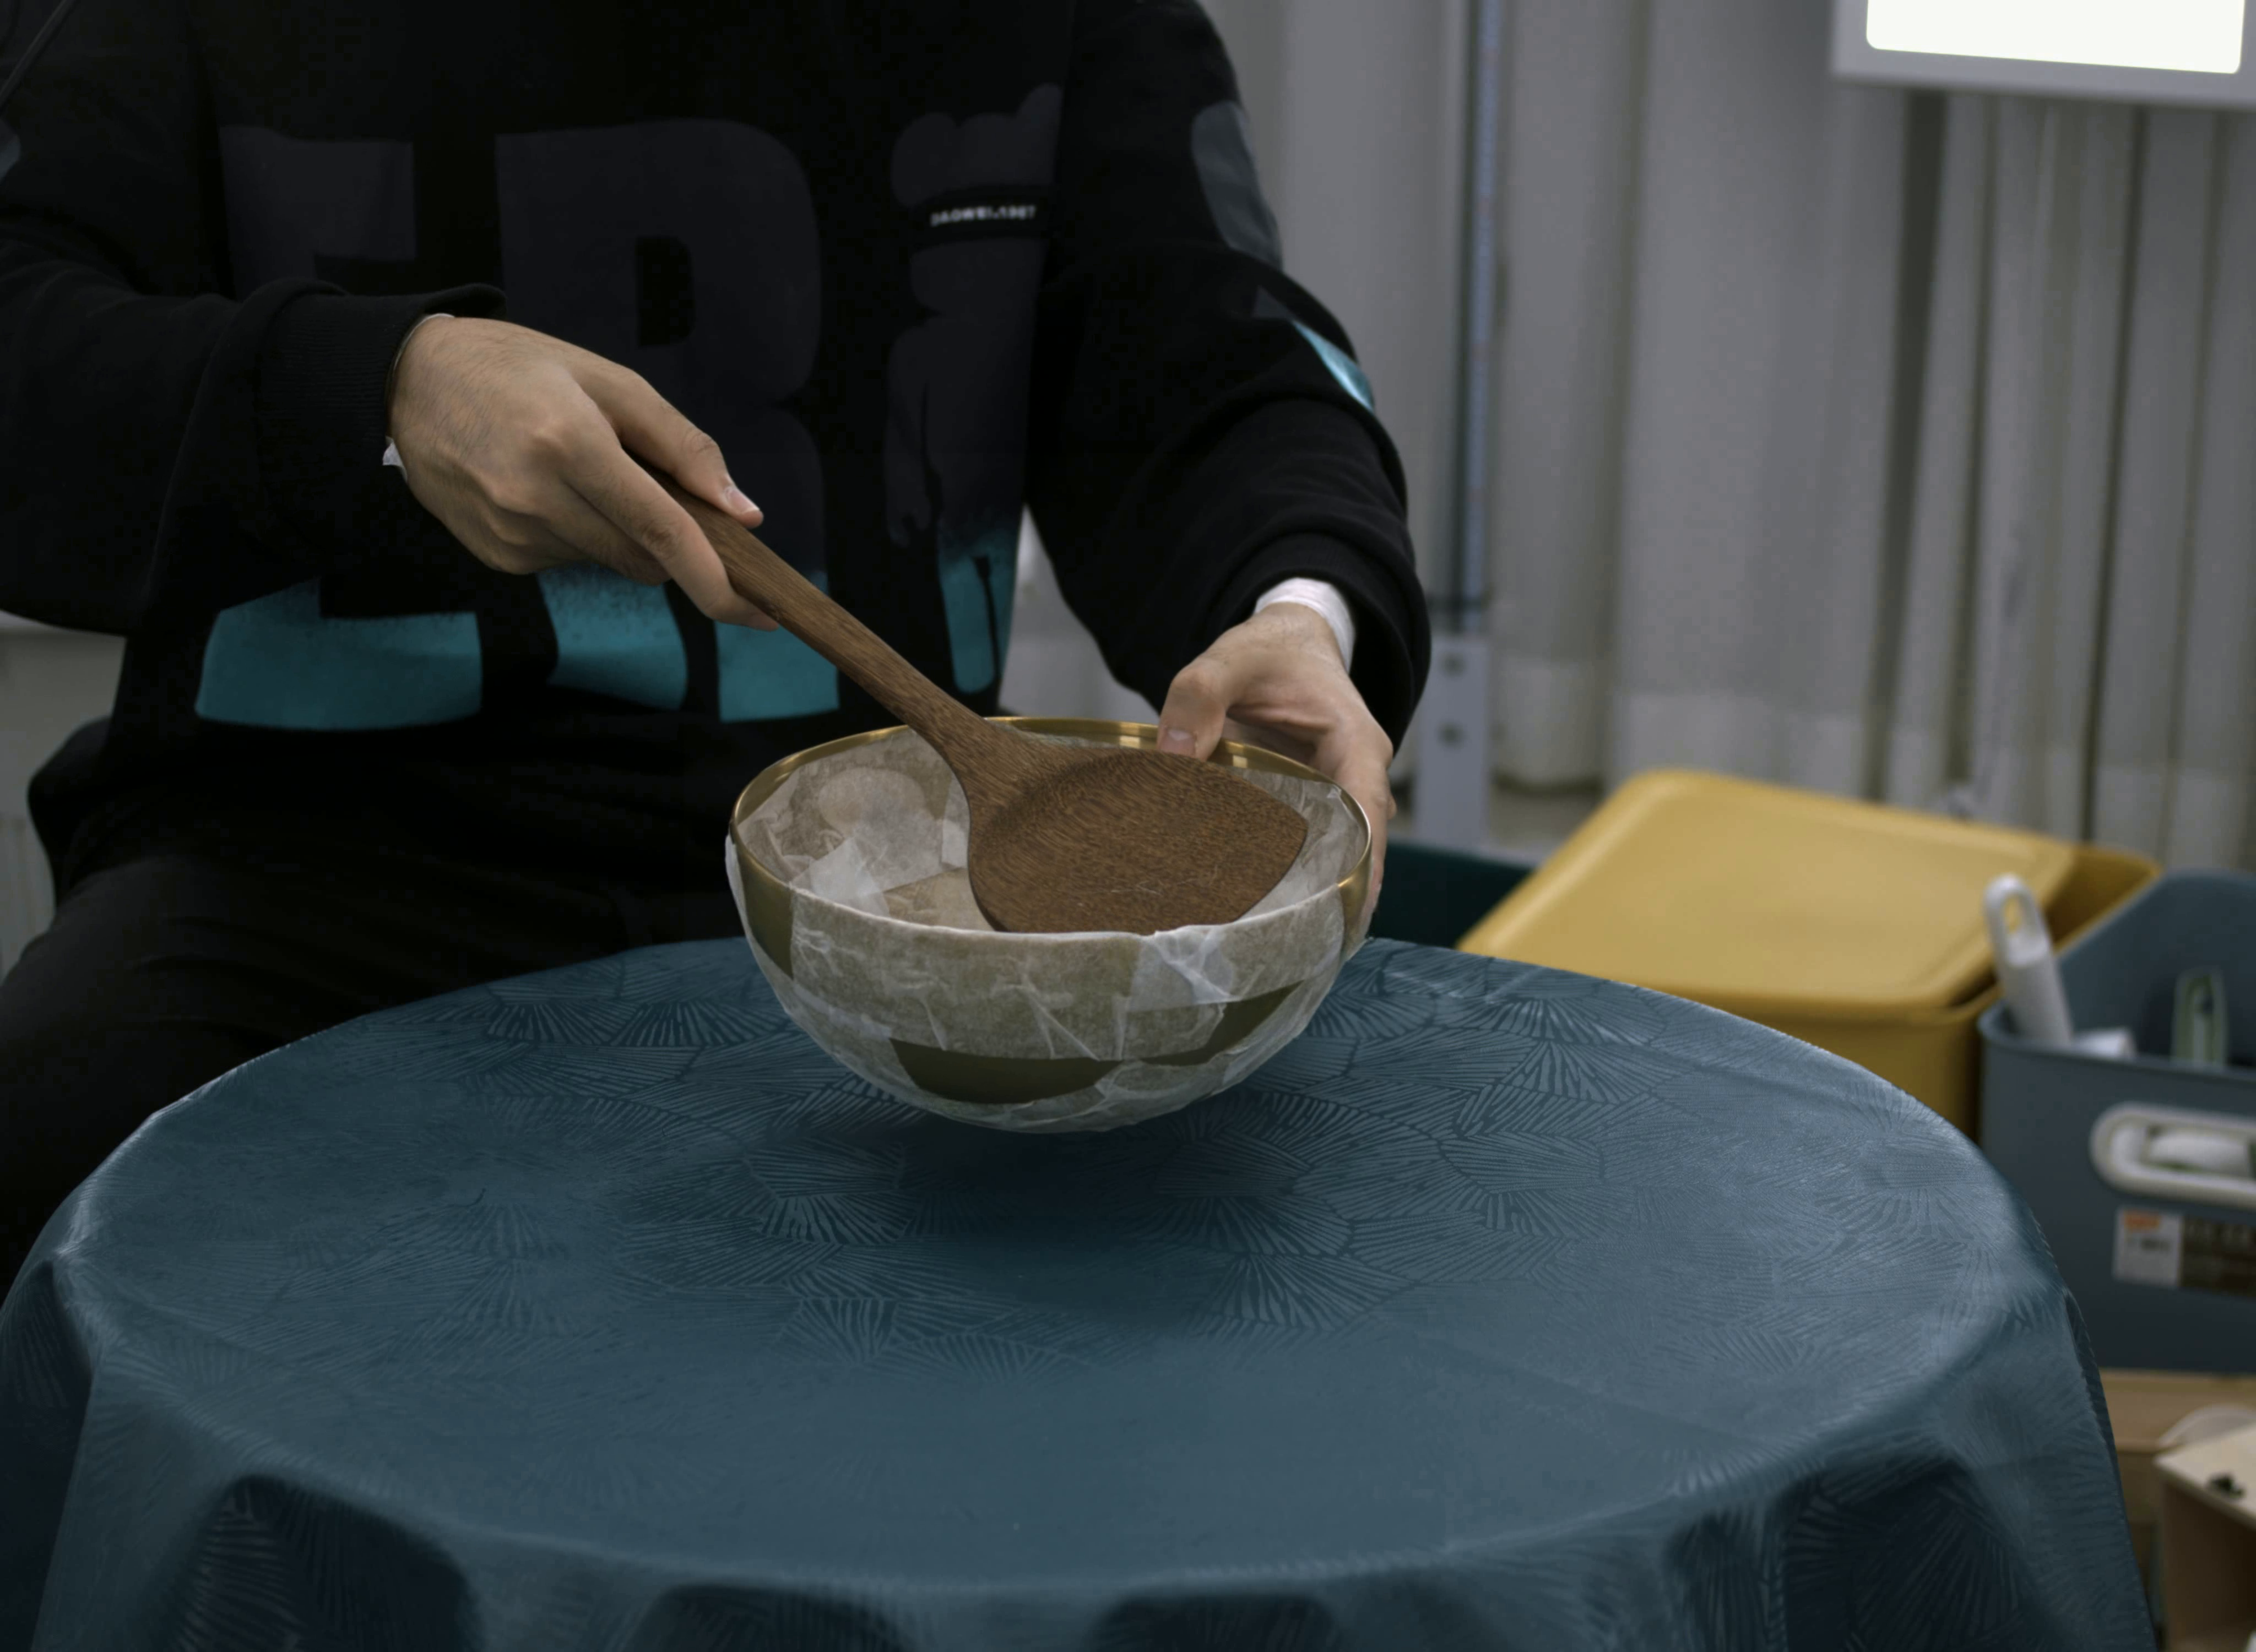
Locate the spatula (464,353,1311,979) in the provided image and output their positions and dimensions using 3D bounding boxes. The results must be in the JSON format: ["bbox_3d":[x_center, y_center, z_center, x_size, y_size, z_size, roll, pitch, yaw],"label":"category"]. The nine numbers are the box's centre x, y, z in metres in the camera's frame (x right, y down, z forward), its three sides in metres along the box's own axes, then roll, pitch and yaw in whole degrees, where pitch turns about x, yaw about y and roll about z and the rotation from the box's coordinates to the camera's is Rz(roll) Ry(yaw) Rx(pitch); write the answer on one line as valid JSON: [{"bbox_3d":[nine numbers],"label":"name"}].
[{"bbox_3d":[-0.095,-0.063,1.657,0.096,0.016,0.381,-33,51,-26],"label":"spatula"}]

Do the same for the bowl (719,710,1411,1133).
[{"bbox_3d":[-0.022,0.039,1.636,0.214,0.095,0.213,1,19,0],"label":"bowl"}]
